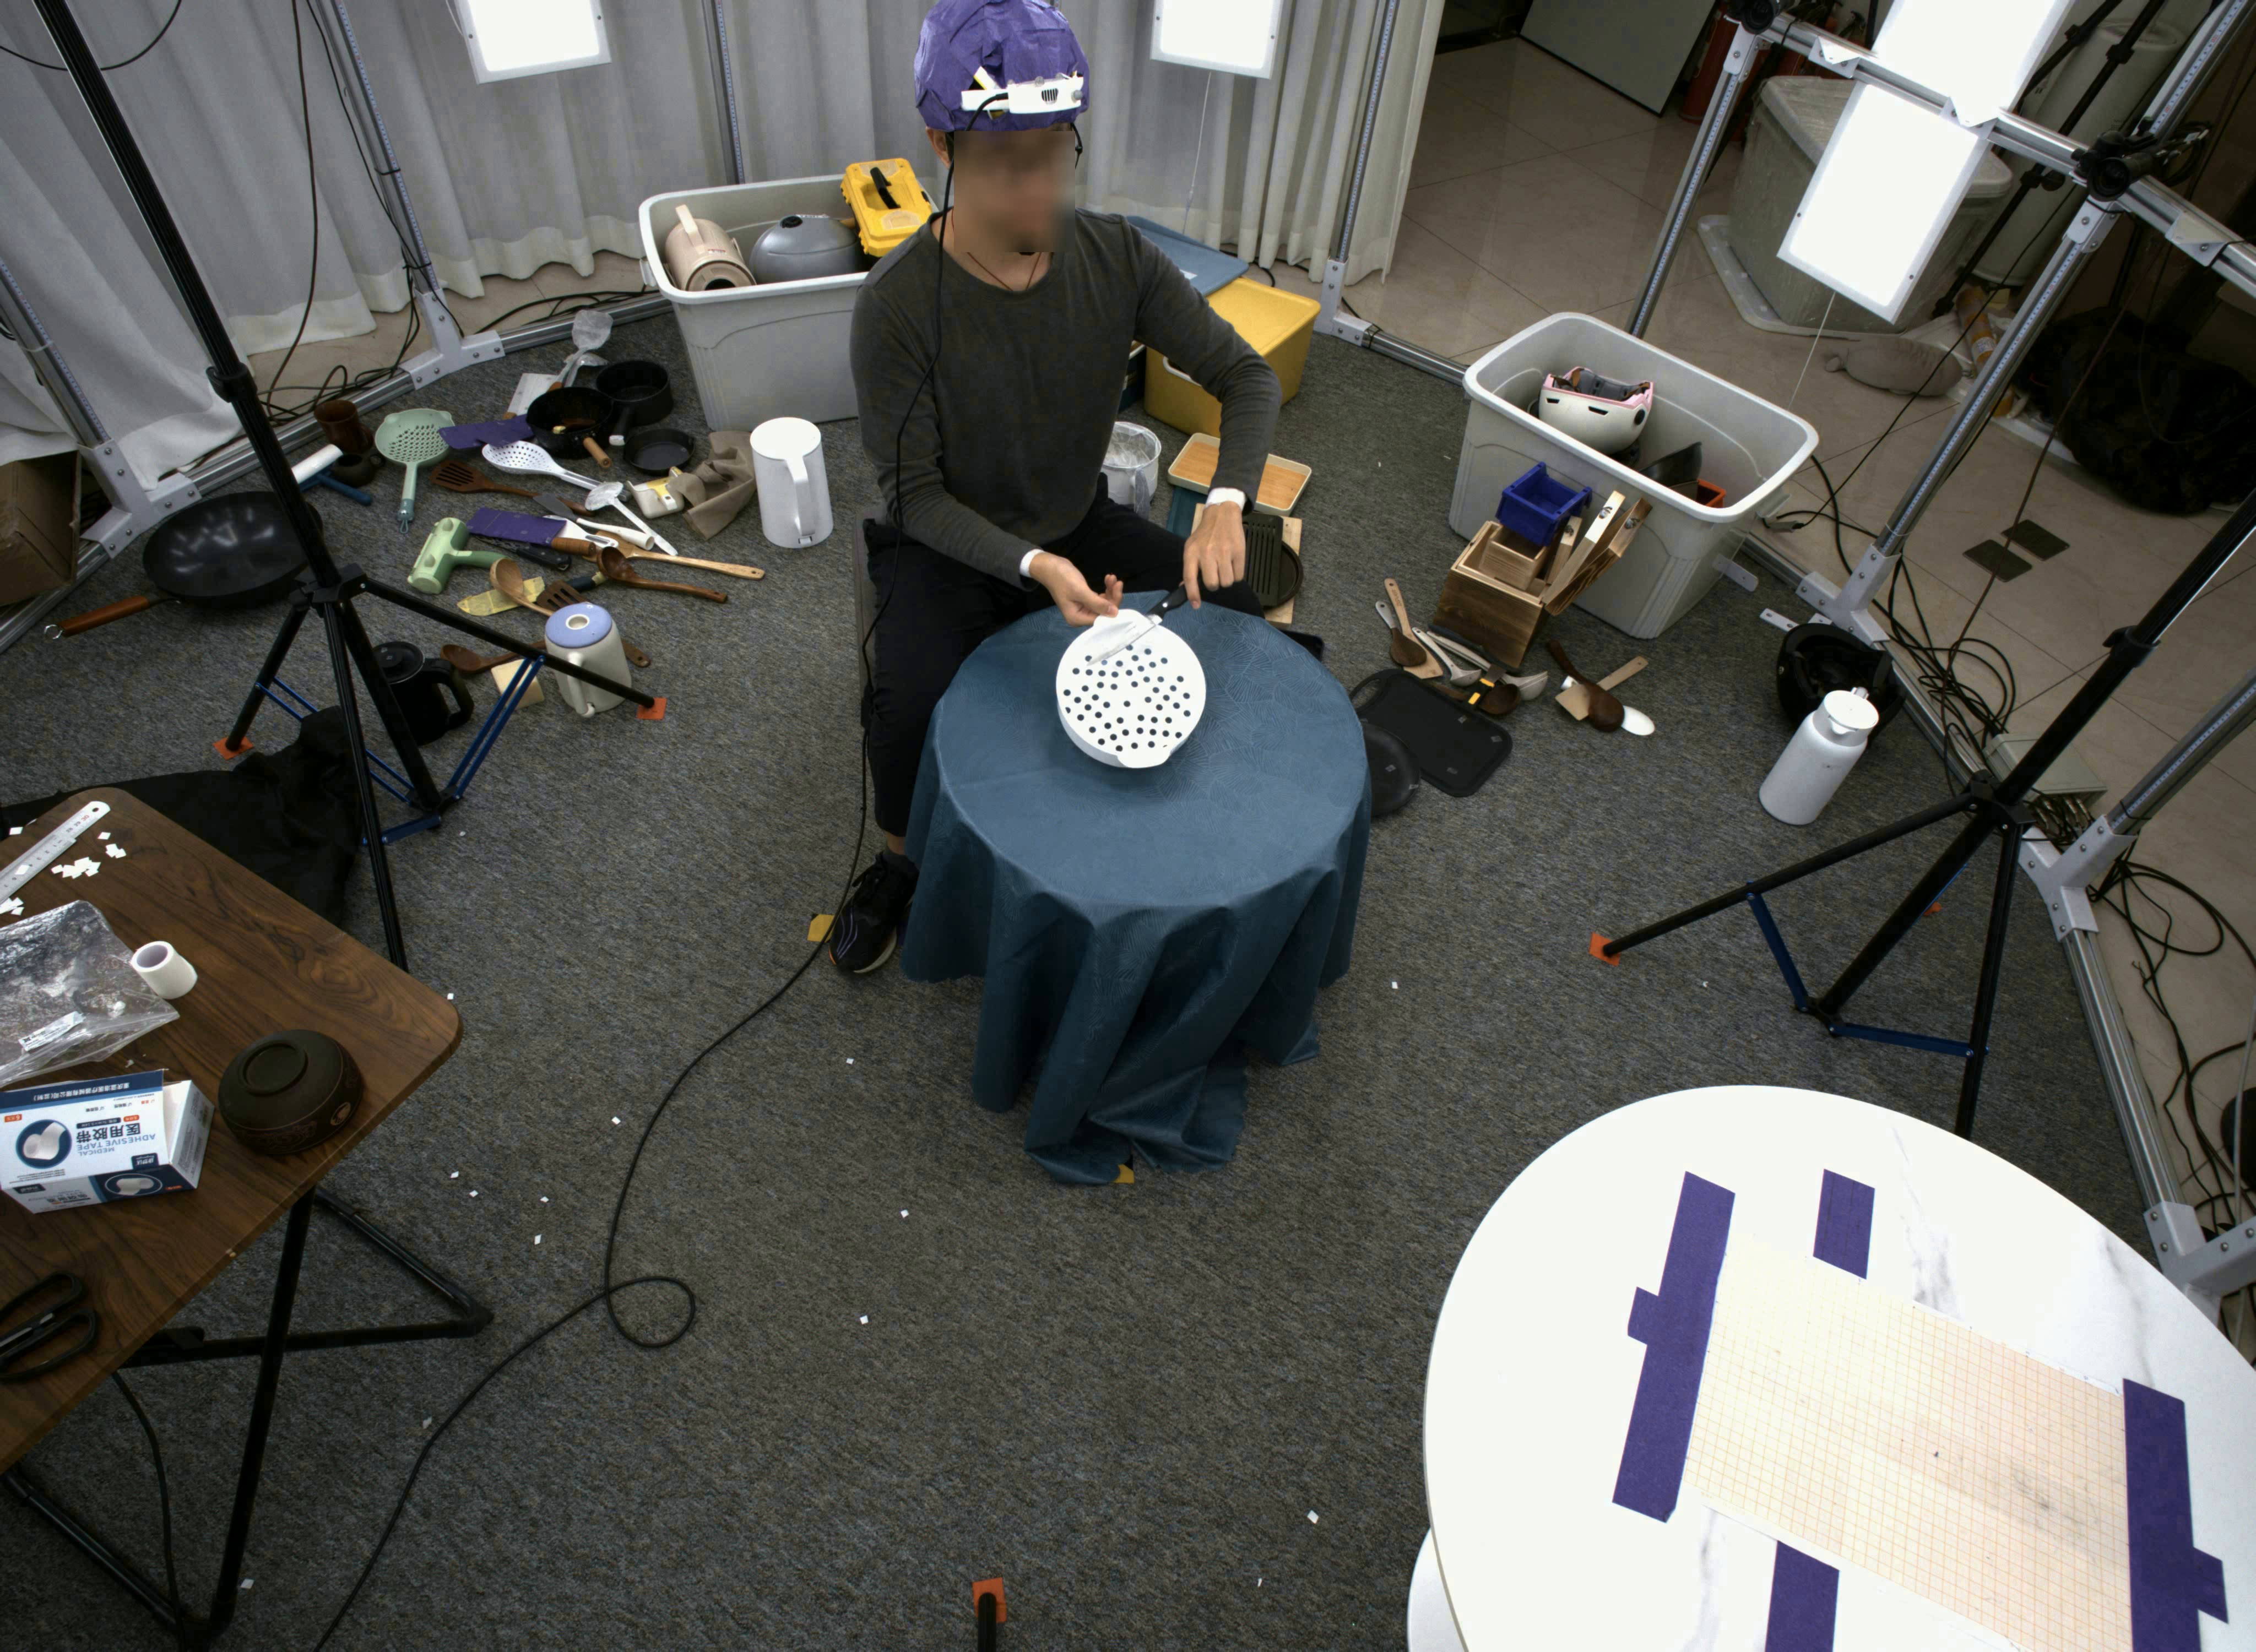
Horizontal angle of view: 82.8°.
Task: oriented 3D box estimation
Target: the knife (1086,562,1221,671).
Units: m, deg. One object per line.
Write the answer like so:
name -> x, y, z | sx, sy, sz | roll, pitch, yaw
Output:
knife -> 0.033, -0.285, 1.744 | 0.239, 0.016, 0.024 | -40, 84, -11

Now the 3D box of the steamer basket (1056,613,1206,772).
steamer basket -> 0.002, -0.173, 1.741 | 0.202, 0.068, 0.234 | -7, 70, -8
